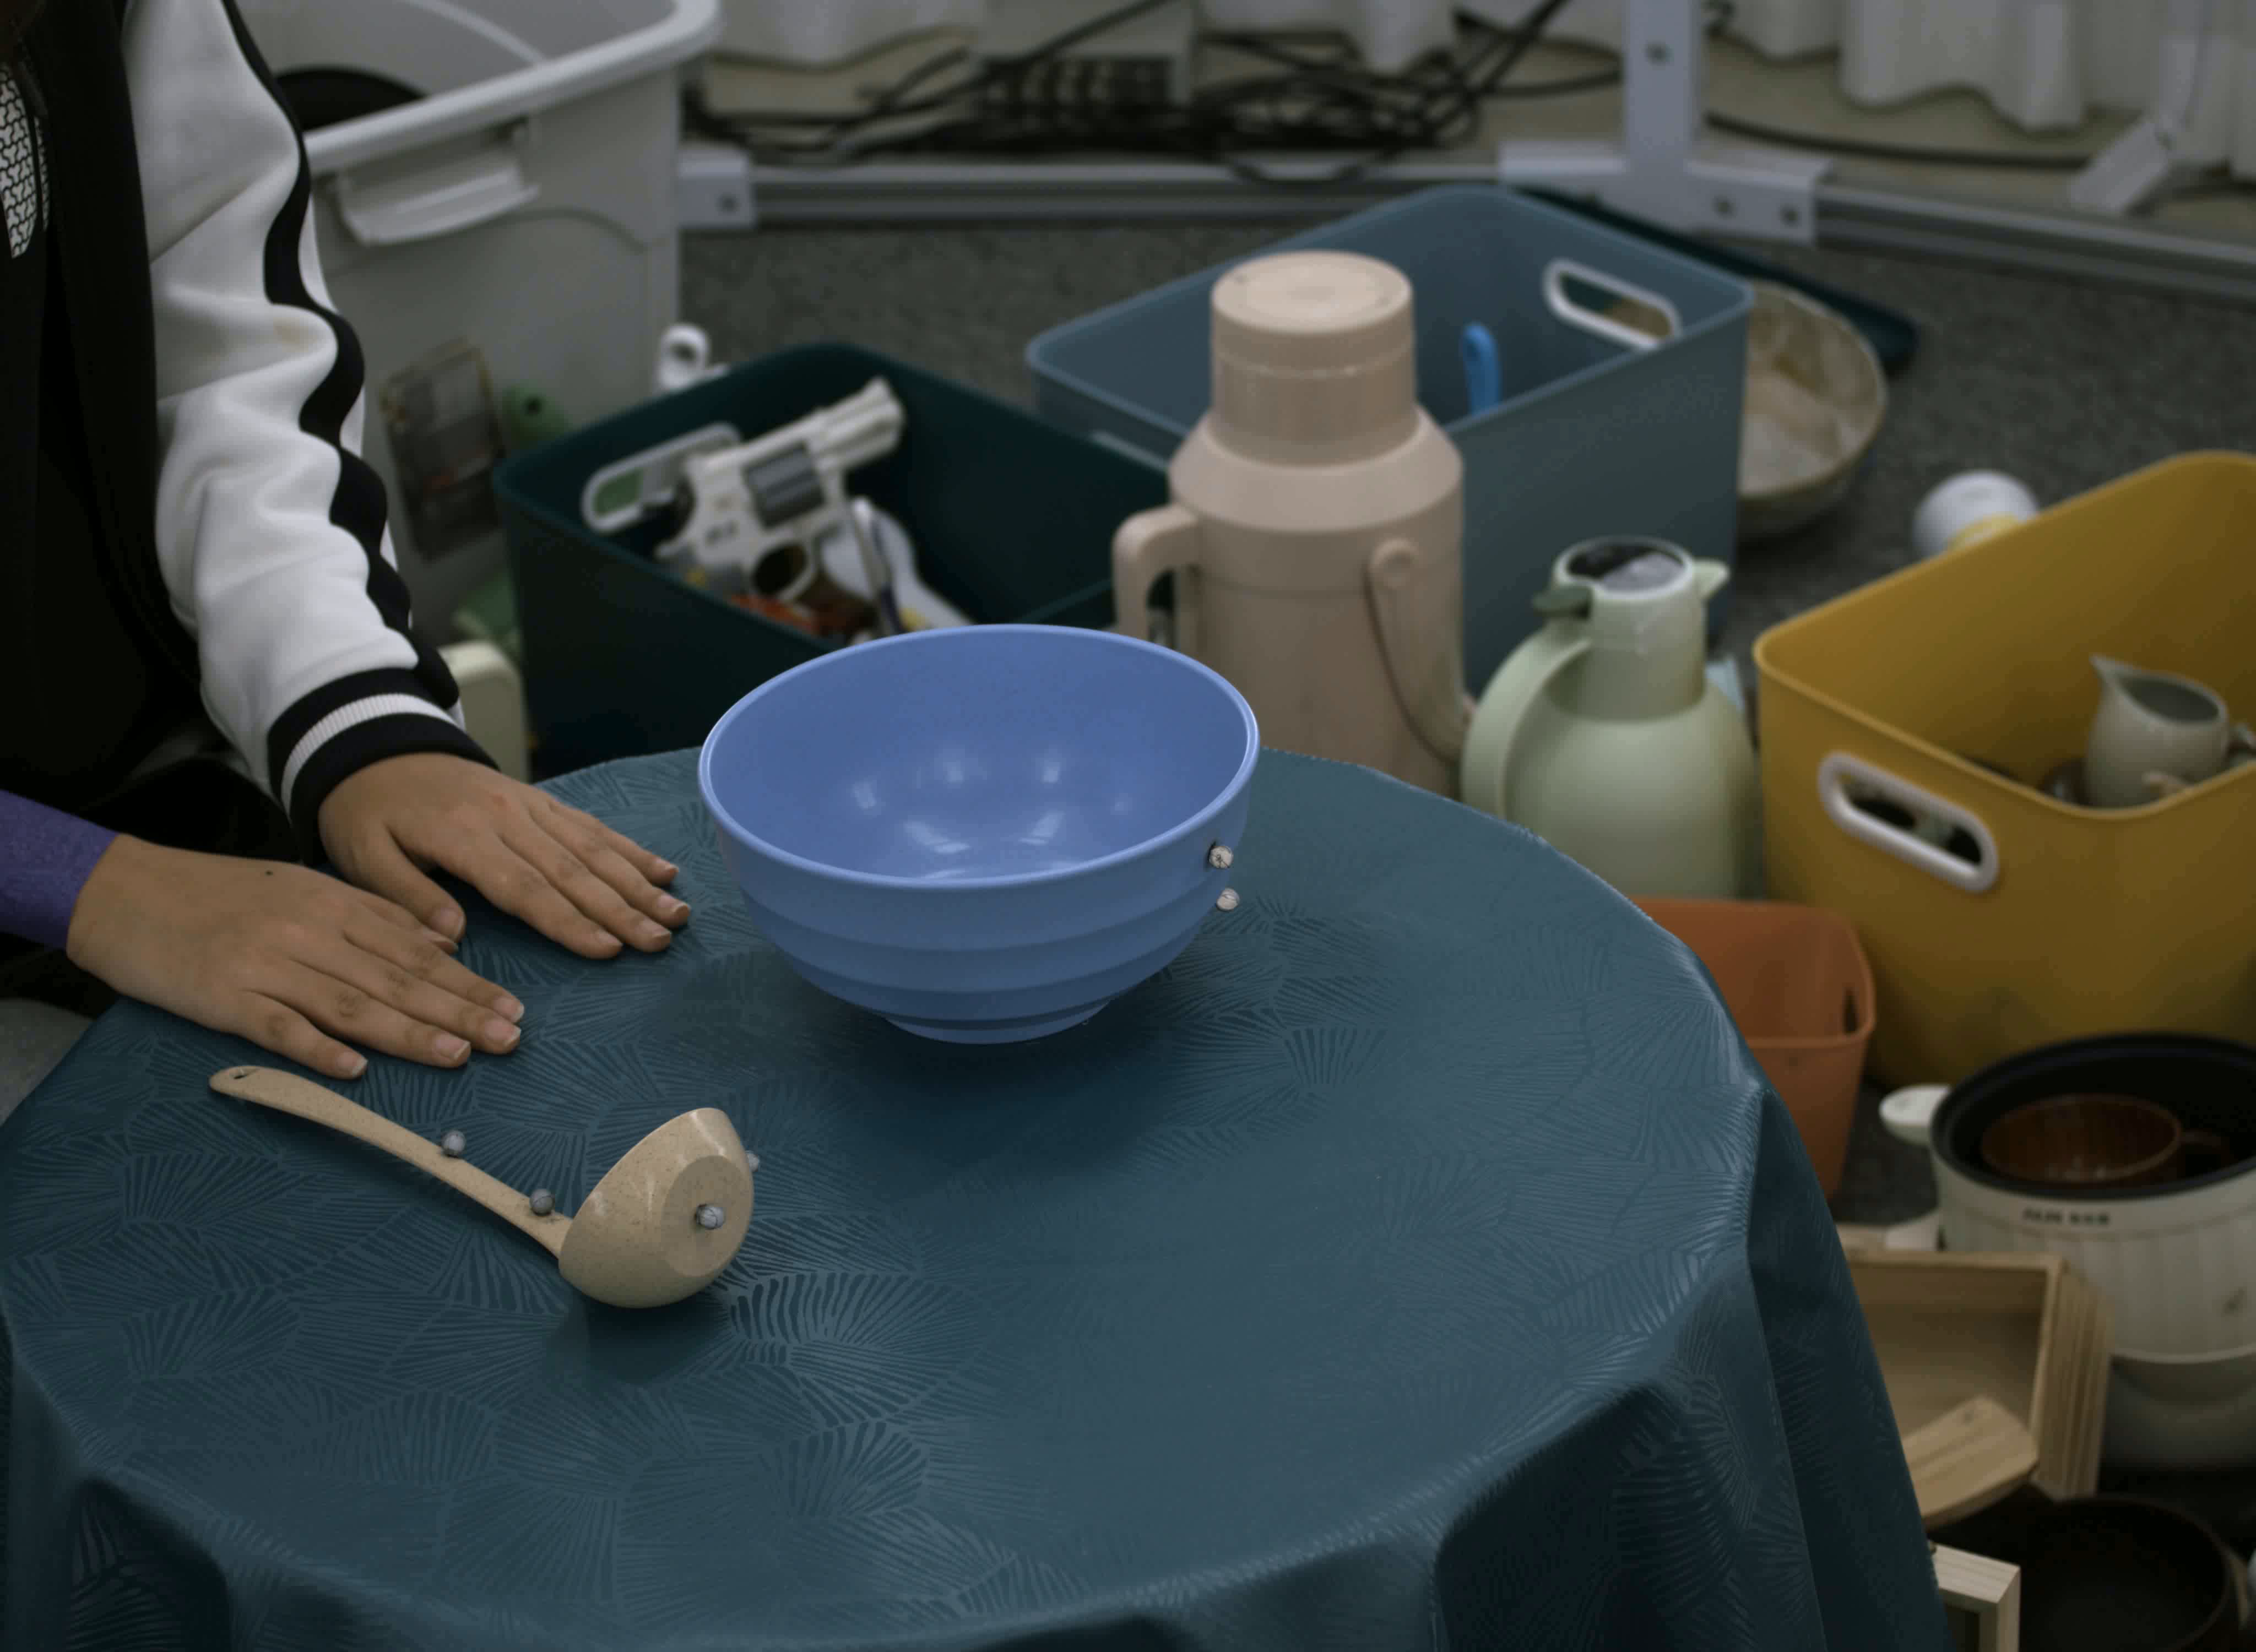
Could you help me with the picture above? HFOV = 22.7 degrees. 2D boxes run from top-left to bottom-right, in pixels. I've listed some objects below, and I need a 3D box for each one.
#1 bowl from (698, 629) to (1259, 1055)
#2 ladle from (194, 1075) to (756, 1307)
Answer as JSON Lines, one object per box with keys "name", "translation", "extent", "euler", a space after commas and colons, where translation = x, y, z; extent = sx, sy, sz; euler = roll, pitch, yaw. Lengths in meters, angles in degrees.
{"name": "bowl", "translation": [-0.049, 0.017, 1.973], "extent": [0.195, 0.094, 0.199], "euler": [-3, 28, 2]}
{"name": "ladle", "translation": [-0.227, 0.093, 1.860], "extent": [0.253, 0.072, 0.073], "euler": [19, 34, 37]}
